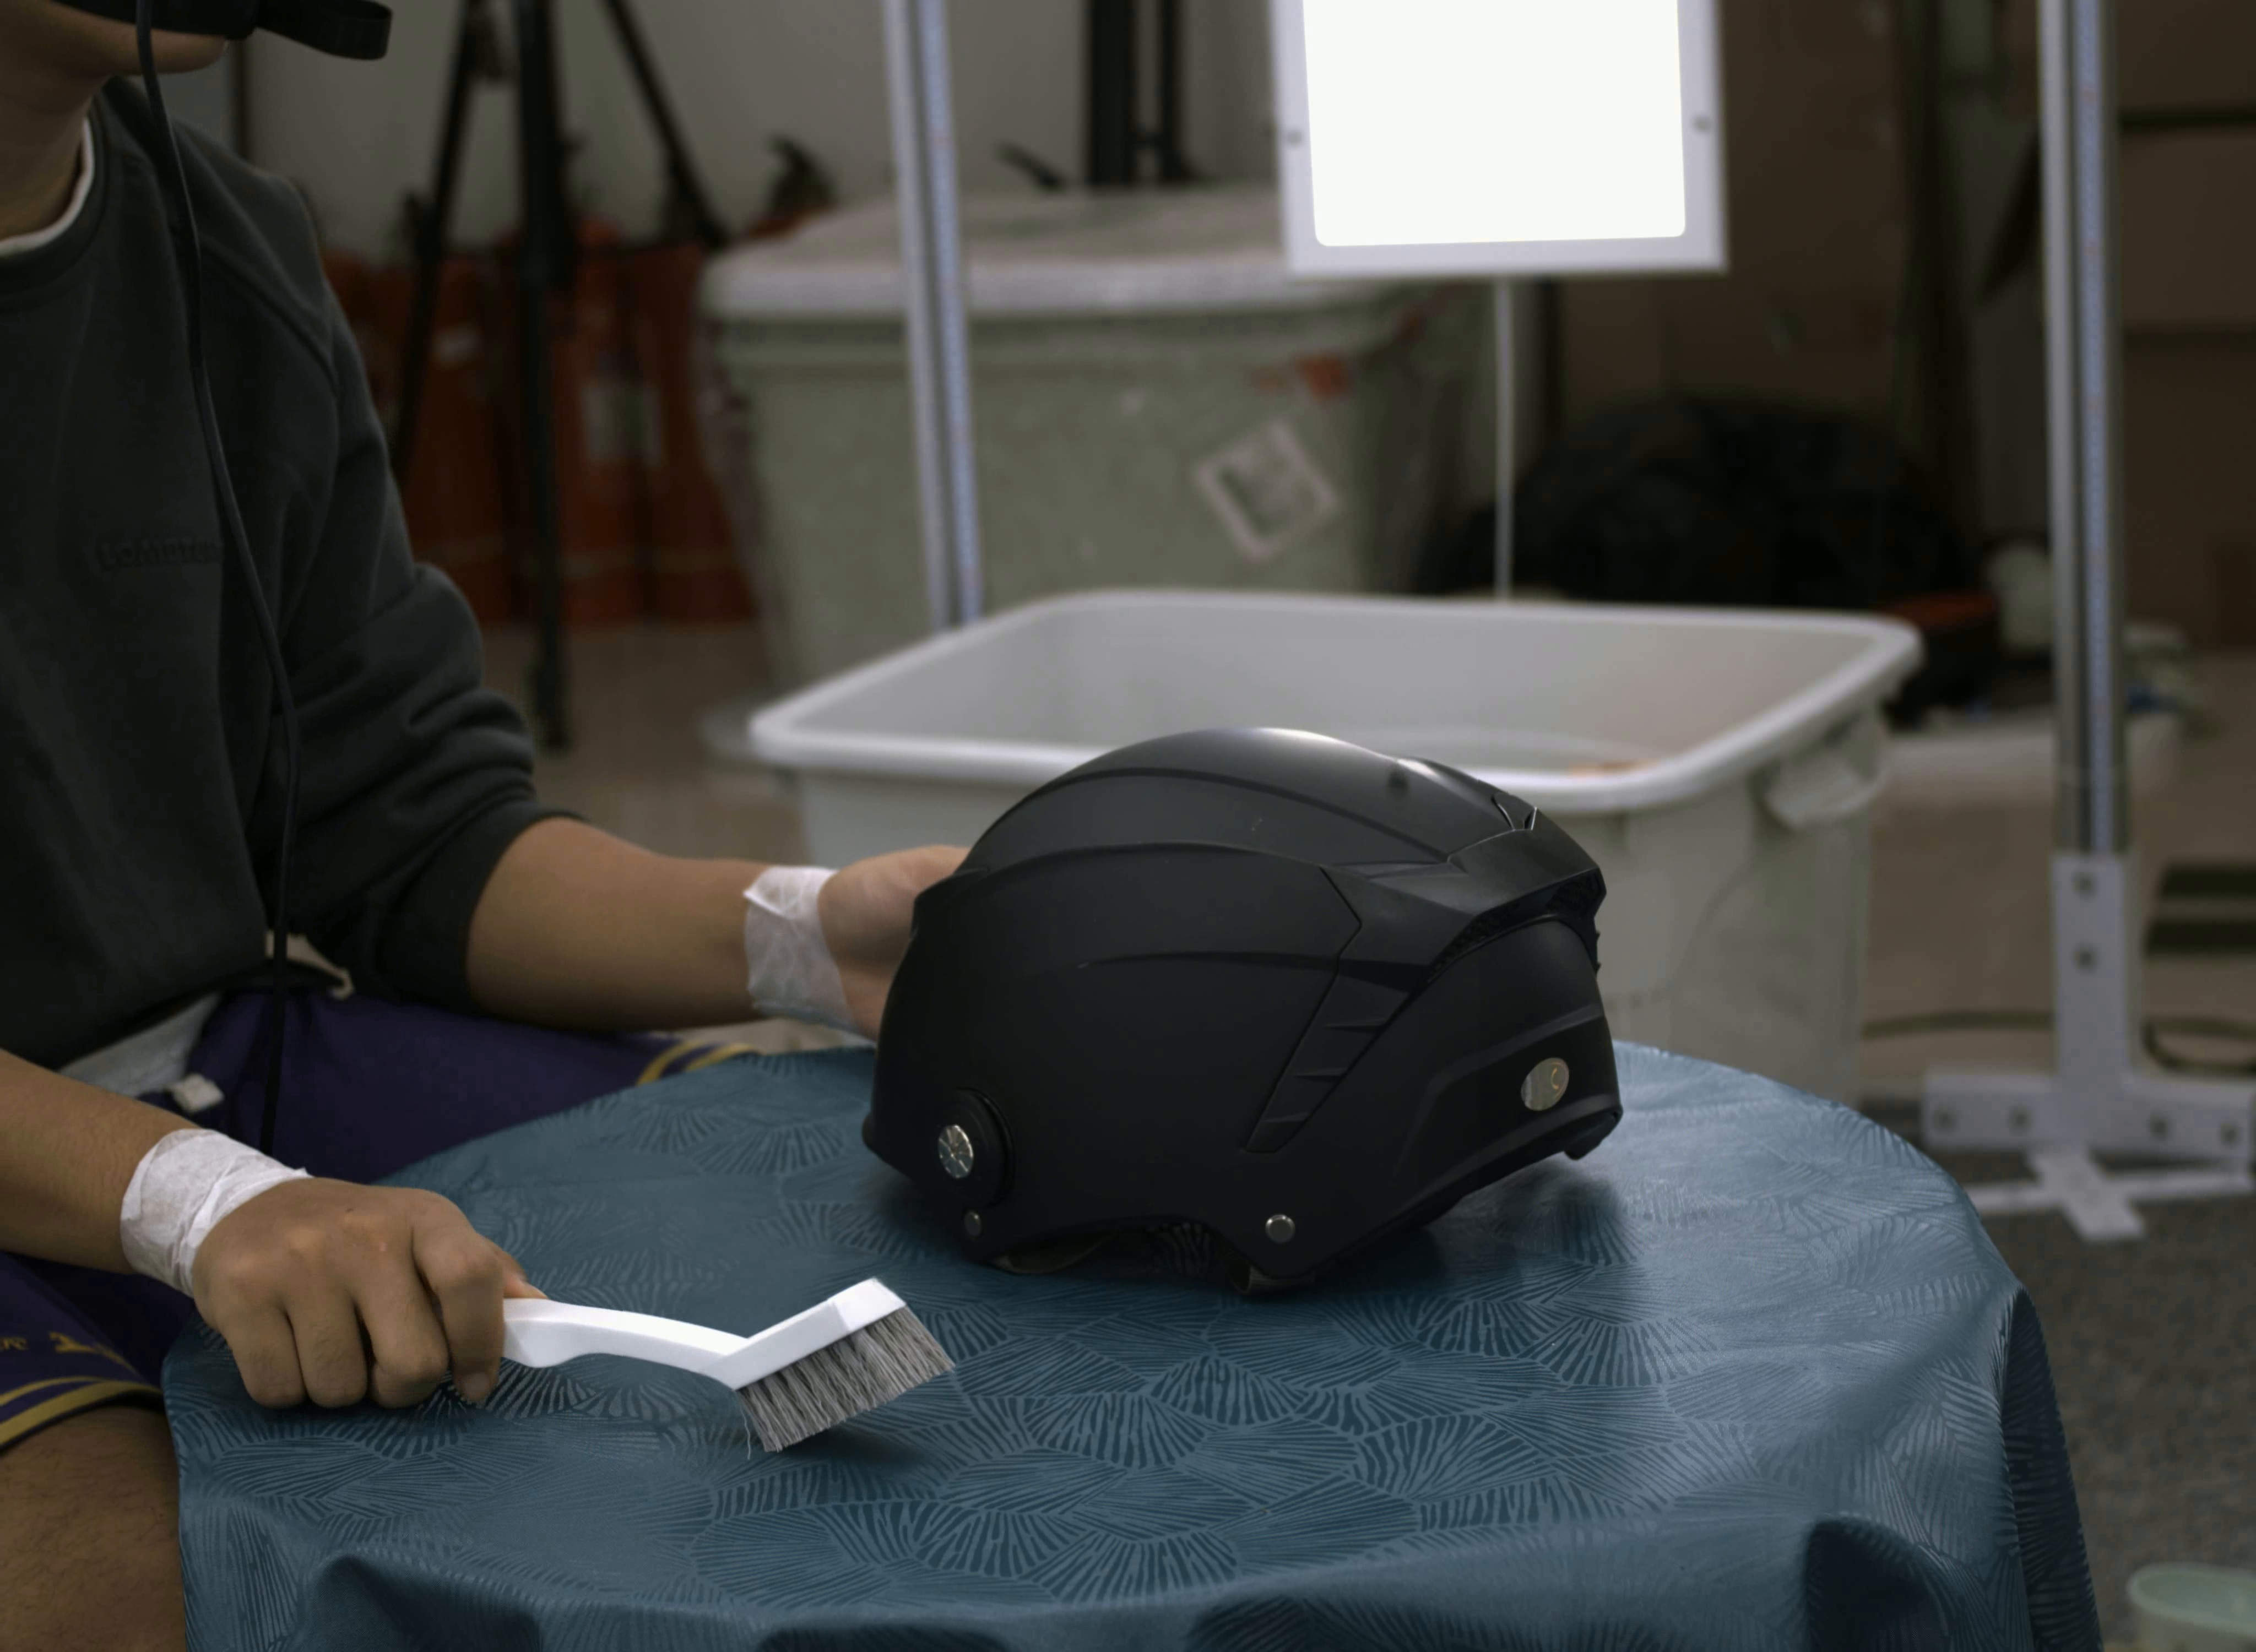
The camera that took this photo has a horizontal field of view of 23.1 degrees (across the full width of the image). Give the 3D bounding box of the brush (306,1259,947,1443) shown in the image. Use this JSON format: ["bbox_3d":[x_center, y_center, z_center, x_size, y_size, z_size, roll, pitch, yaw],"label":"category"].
[{"bbox_3d":[-0.160,0.170,1.720,0.249,0.050,0.033,-9,9,37],"label":"brush"}]

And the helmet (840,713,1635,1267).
[{"bbox_3d":[0.037,0.048,1.866,0.282,0.173,0.240,11,20,43],"label":"helmet"}]
